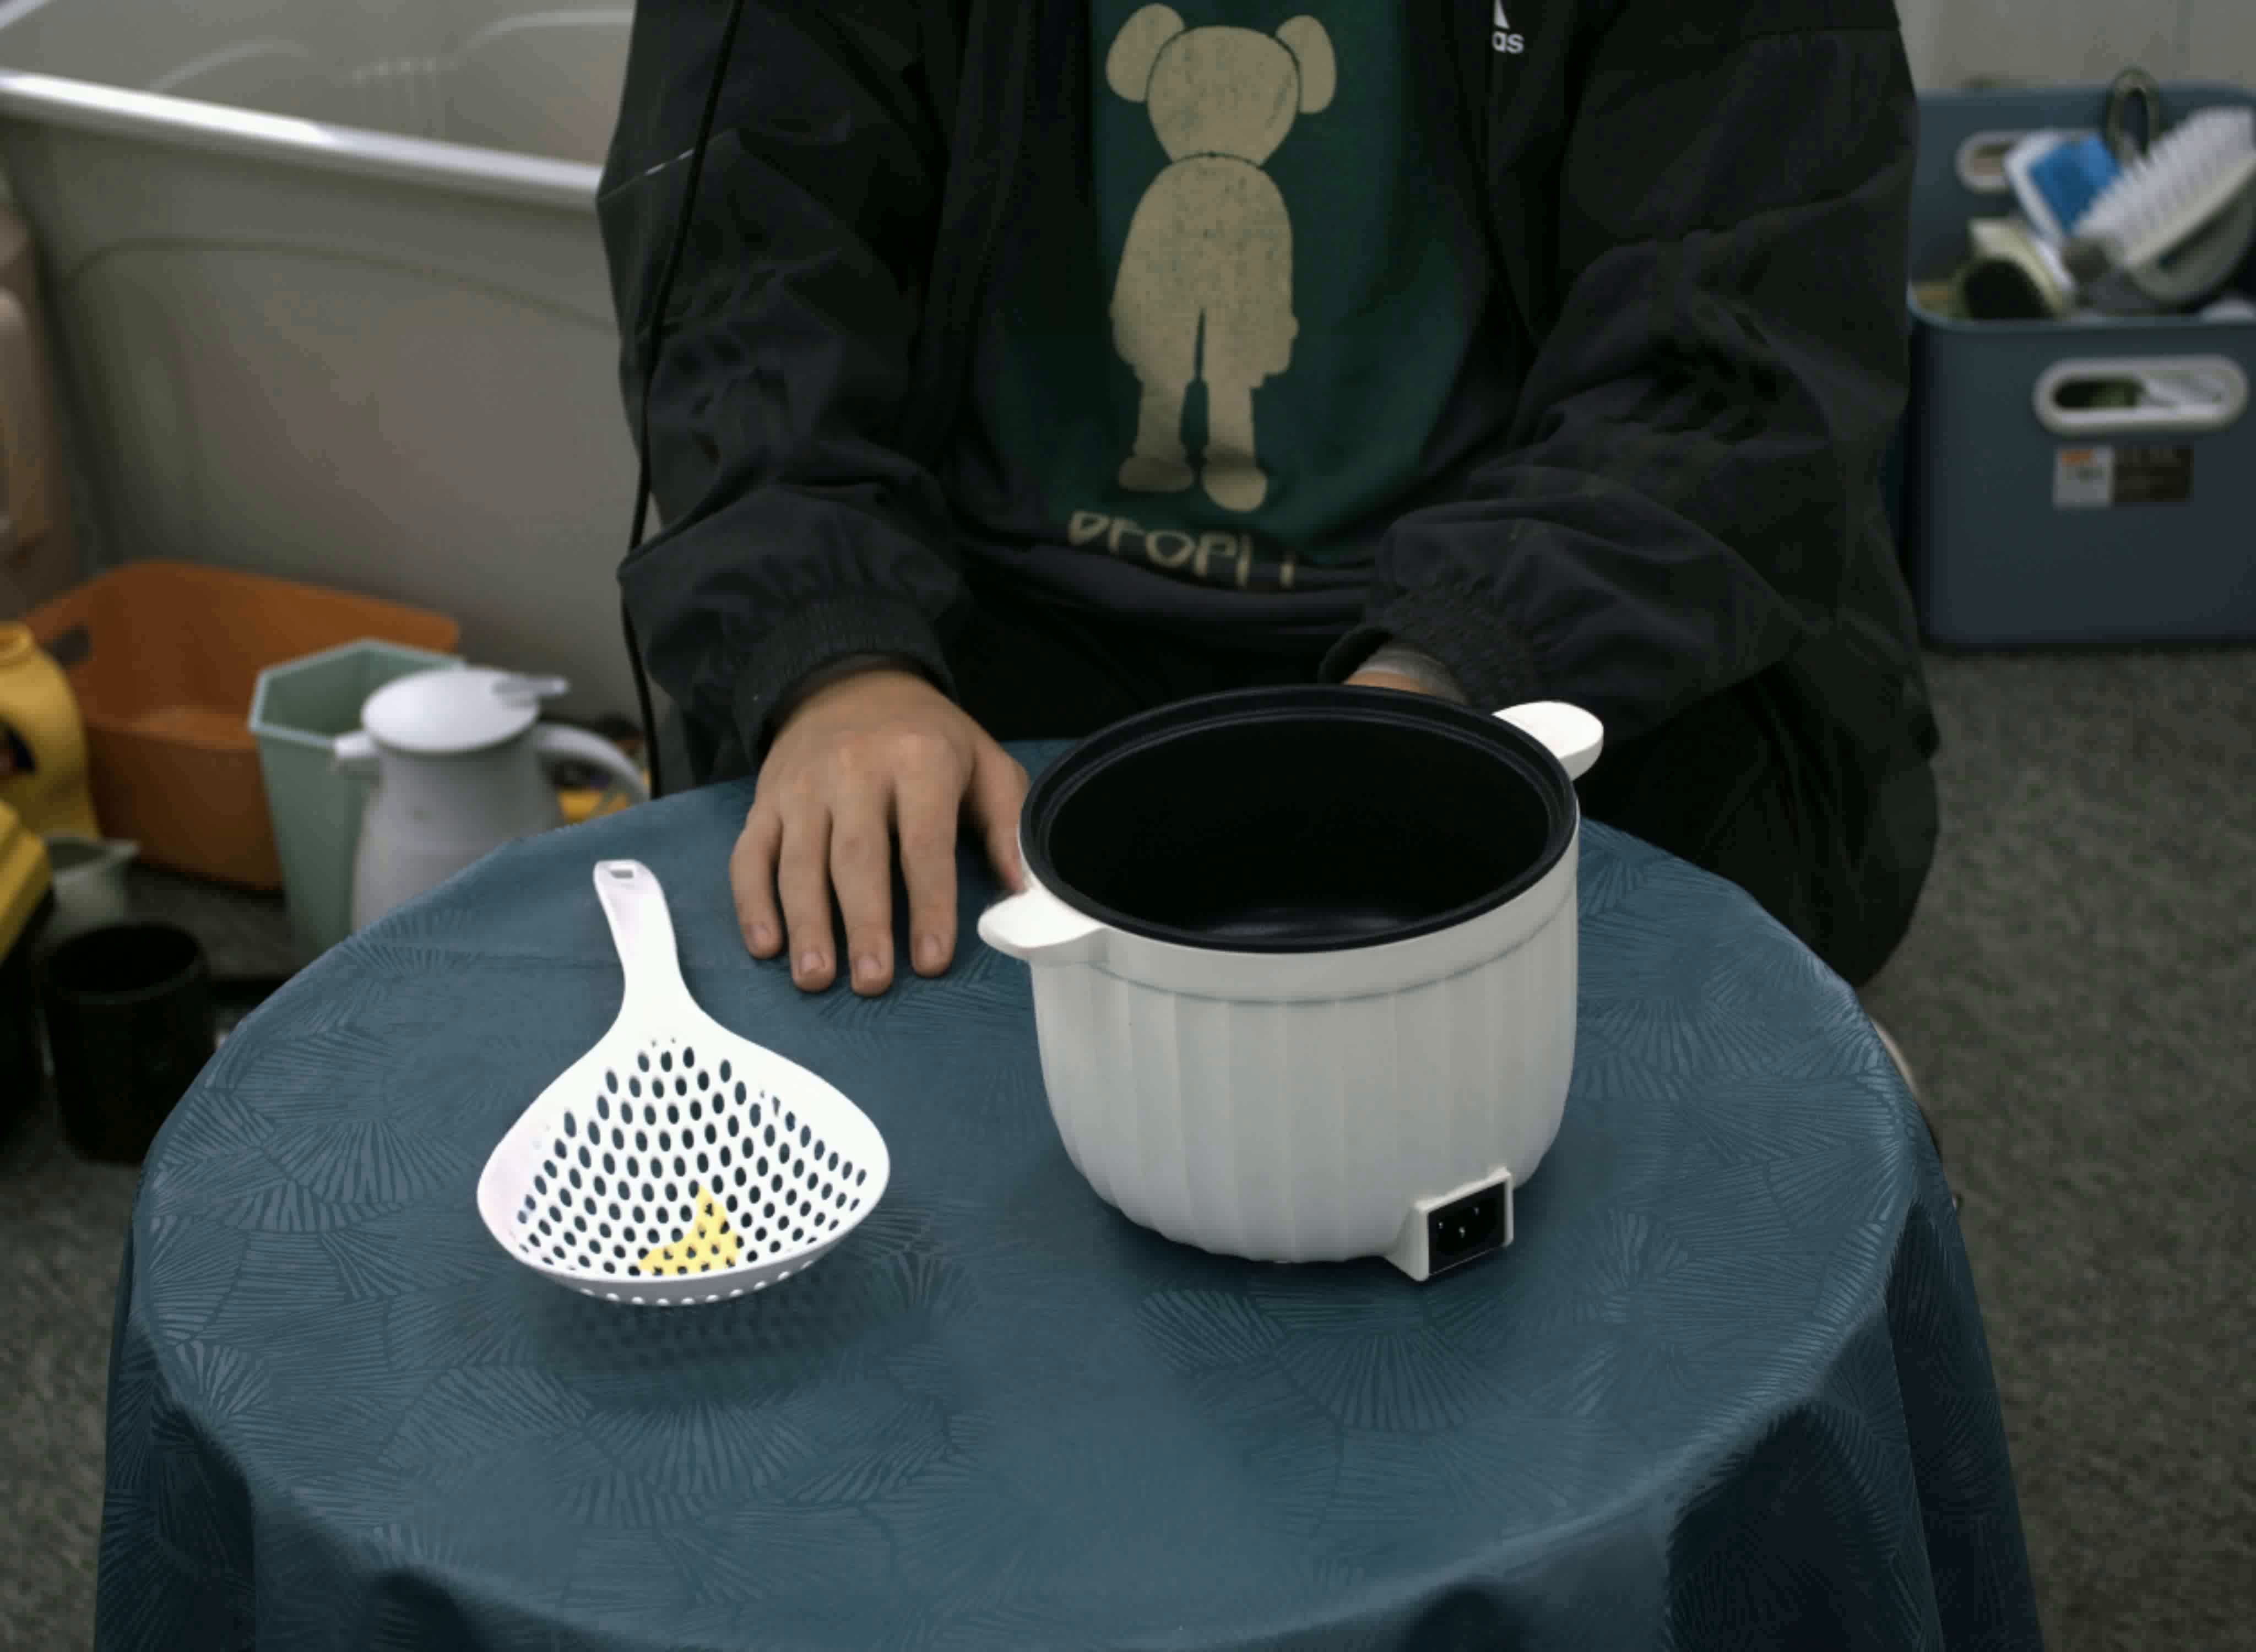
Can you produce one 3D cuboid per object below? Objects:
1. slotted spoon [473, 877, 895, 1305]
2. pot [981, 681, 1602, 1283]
[{"bbox_3d":[-0.160,0.078,1.914,0.136,0.050,0.352,-8,28,-7],"label":"slotted spoon"},{"bbox_3d":[0.054,0.051,1.841,0.242,0.141,0.191,-18,33,-30],"label":"pot"}]
